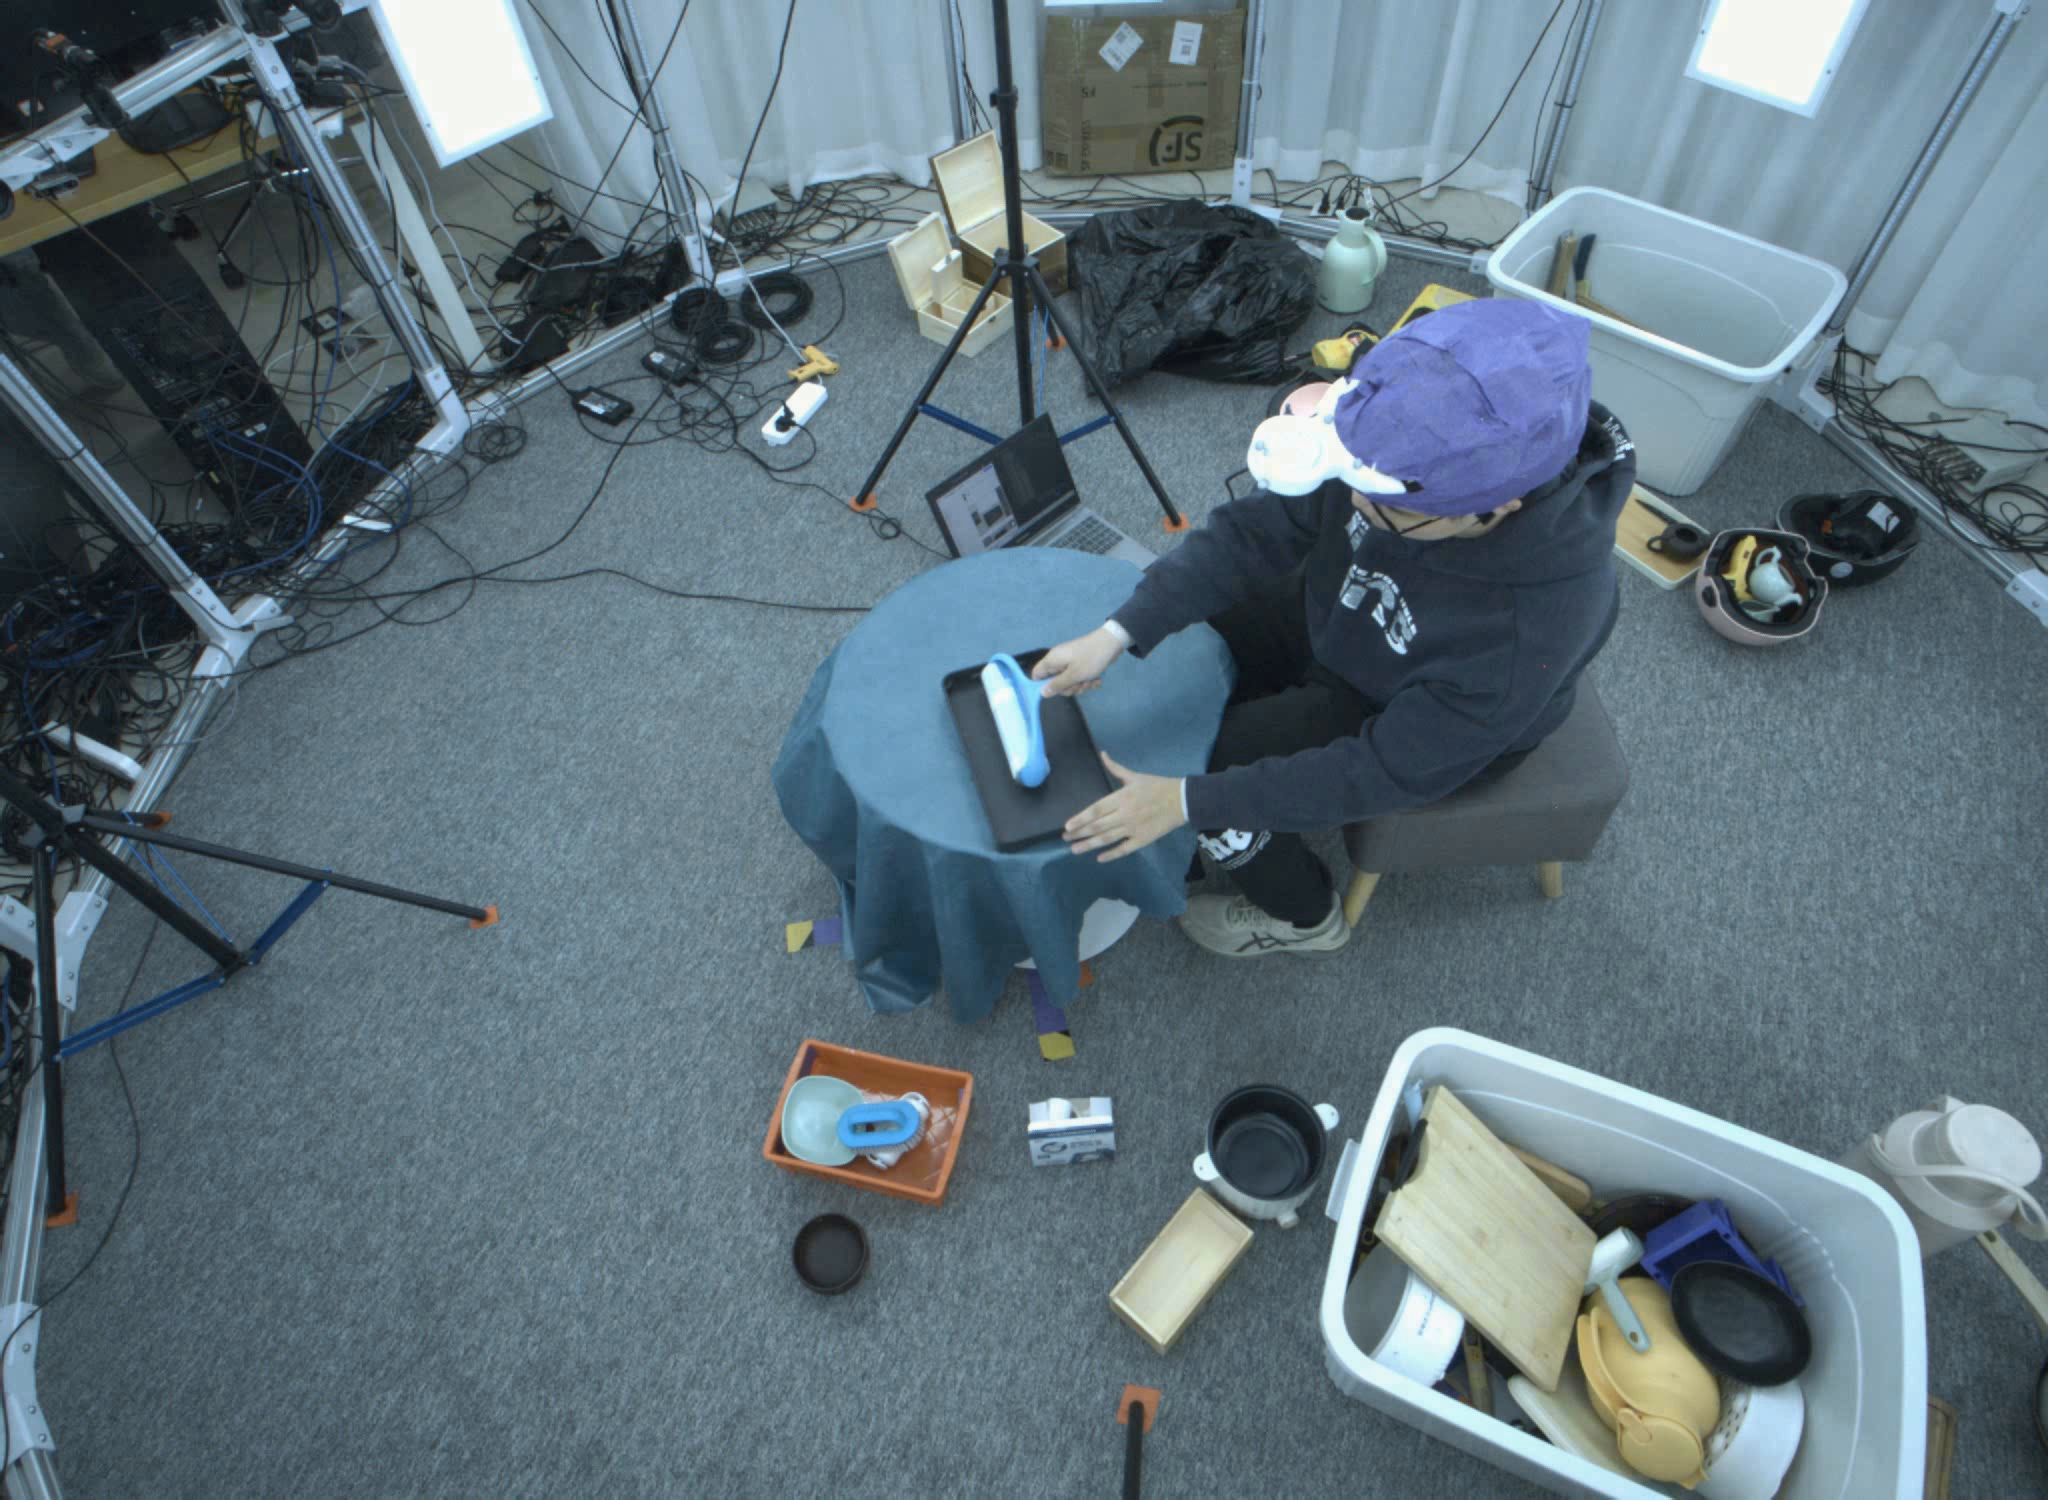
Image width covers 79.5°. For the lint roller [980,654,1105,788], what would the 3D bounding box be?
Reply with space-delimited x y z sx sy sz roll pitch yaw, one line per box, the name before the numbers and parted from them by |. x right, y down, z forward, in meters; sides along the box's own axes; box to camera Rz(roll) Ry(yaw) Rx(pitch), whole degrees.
lint roller | 0.028 -0.074 1.757 0.179 0.069 0.225 -37 51 21

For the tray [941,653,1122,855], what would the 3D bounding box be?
tray | 0.006 0.000 1.771 0.185 0.037 0.312 -15 54 -10
